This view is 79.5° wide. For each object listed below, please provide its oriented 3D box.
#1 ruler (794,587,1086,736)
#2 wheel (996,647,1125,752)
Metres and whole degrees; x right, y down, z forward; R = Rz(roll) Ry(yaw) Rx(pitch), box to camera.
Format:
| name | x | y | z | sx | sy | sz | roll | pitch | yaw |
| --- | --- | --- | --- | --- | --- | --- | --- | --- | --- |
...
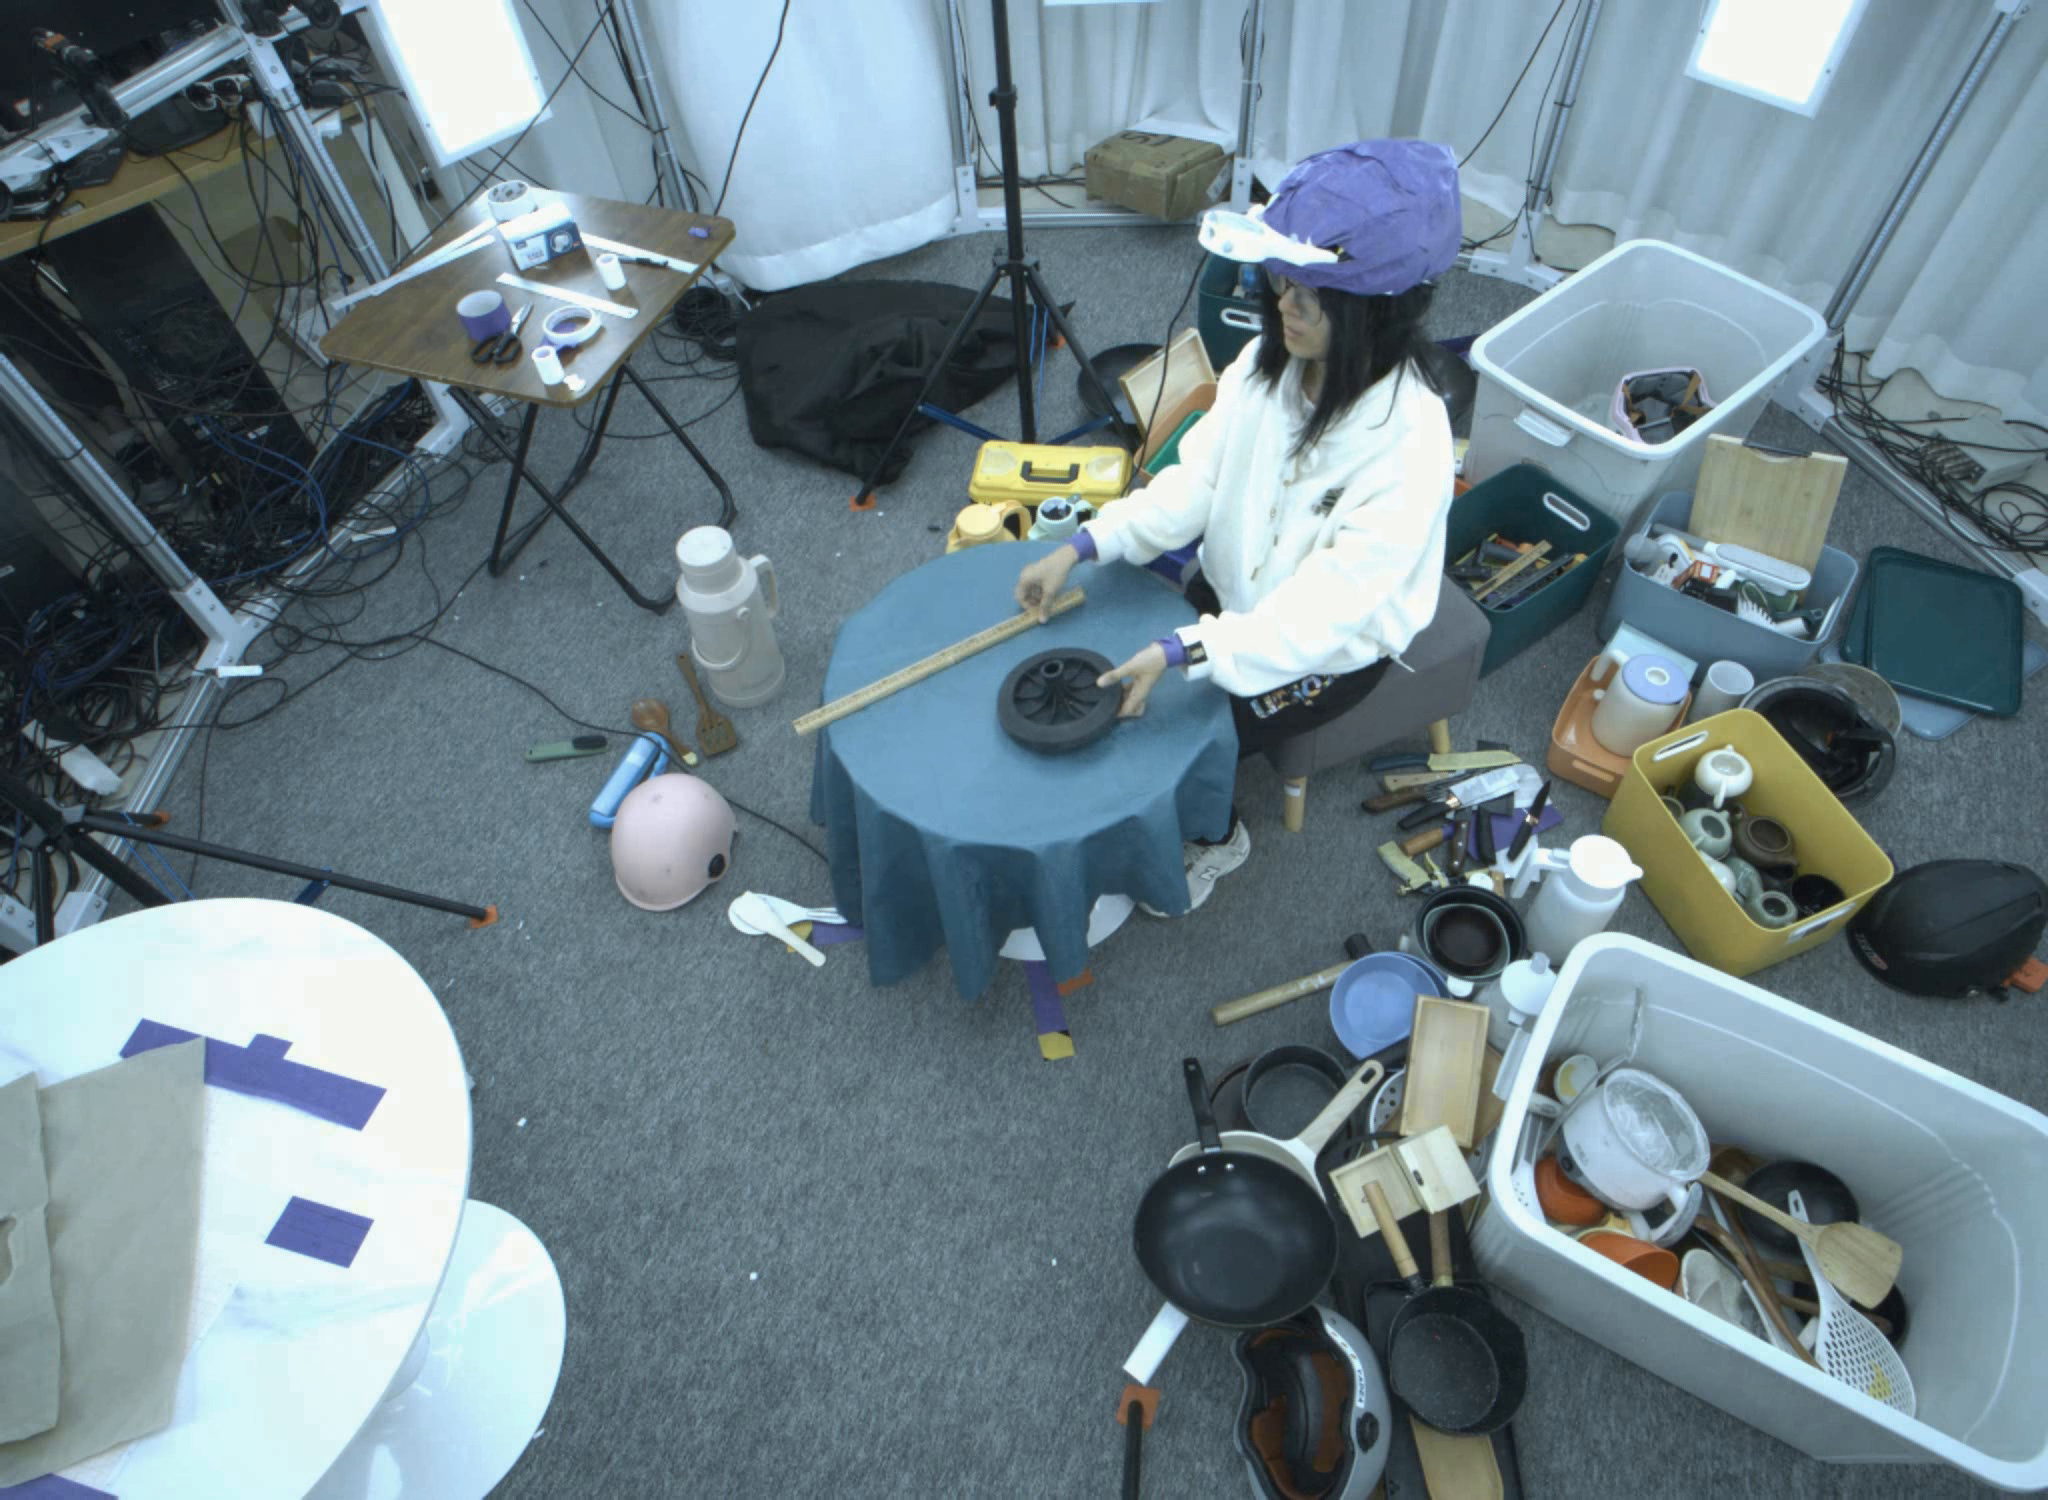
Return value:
| name | x | y | z | sx | sy | sz | roll | pitch | yaw |
| --- | --- | --- | --- | --- | --- | --- | --- | --- | --- |
| ruler | -0.122 | -0.141 | 1.877 | 0.504 | 0.027 | 0.006 | -27 | 22 | -17 |
| wheel | 0.049 | -0.089 | 1.794 | 0.187 | 0.080 | 0.187 | 11 | 56 | 20 |
